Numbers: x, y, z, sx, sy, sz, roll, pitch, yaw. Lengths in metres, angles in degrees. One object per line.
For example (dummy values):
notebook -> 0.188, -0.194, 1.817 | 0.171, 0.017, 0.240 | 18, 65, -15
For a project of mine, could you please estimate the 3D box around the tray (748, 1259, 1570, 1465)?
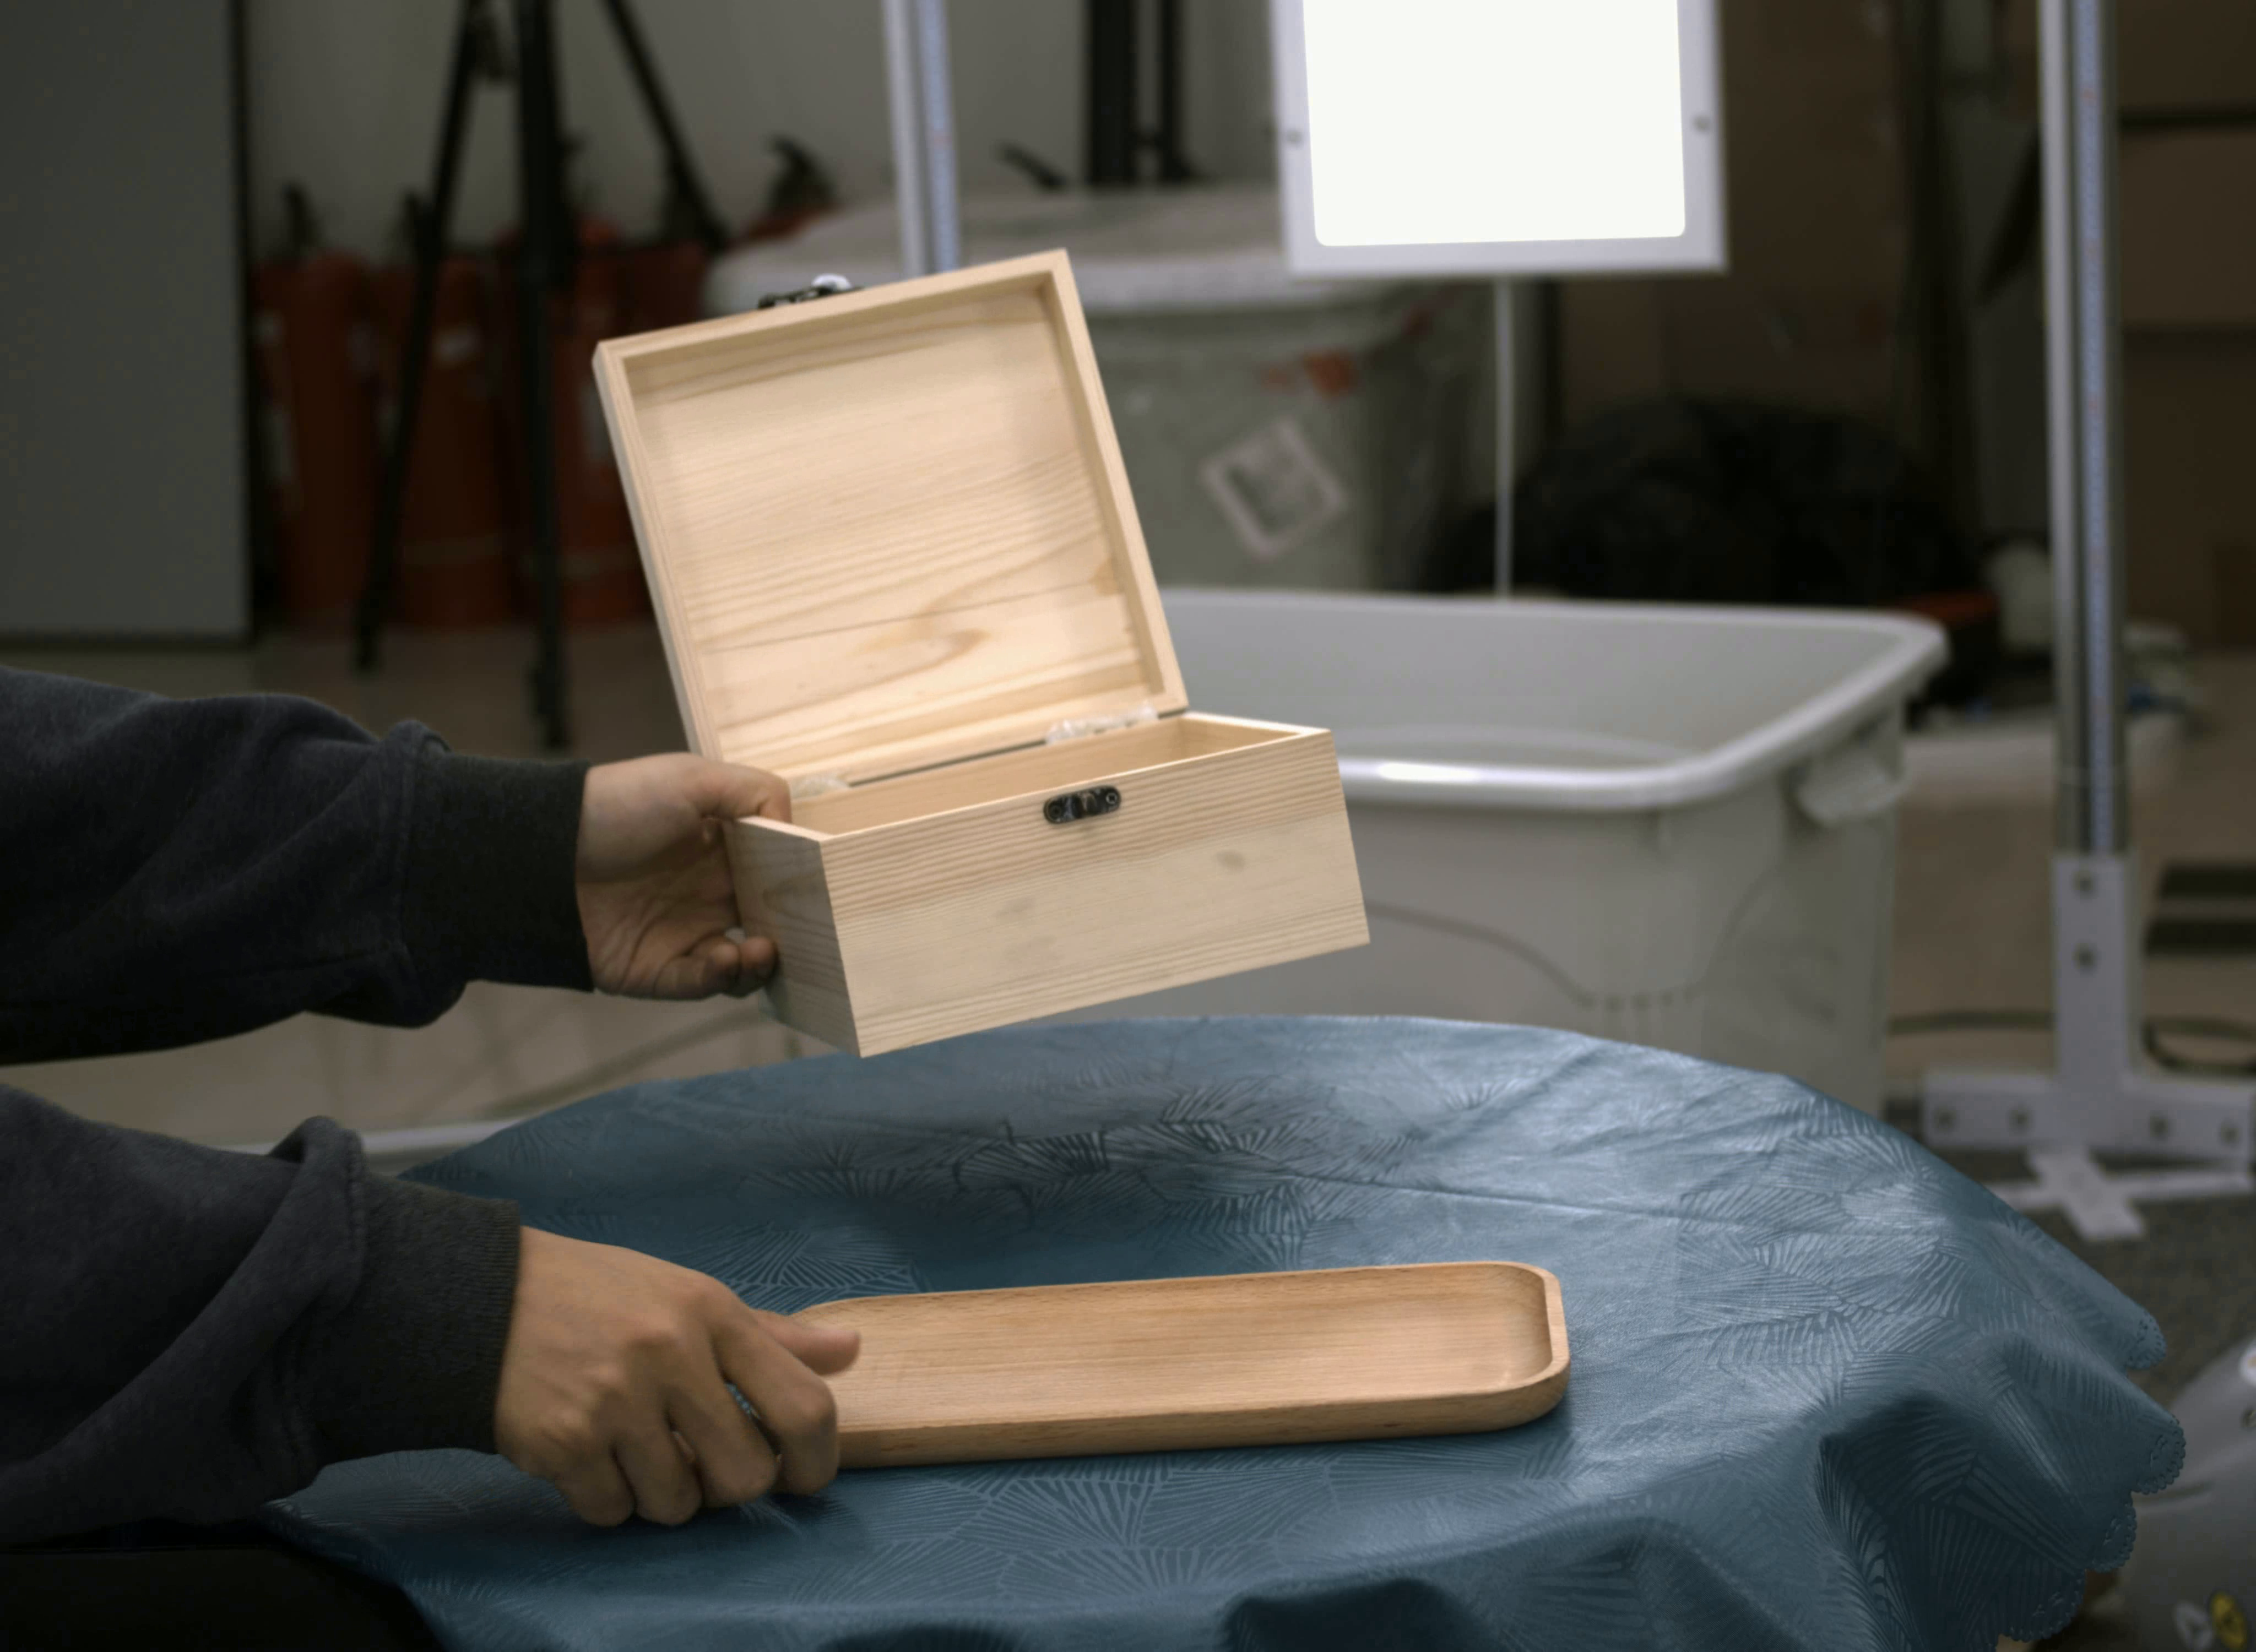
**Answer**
tray -> 0.011, 0.165, 1.698 | 0.251, 0.023, 0.130 | -4, 11, 6

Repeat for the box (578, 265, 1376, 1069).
box -> -0.059, -0.065, 1.945 | 0.179, 0.254, 0.268 | -15, 5, -13
